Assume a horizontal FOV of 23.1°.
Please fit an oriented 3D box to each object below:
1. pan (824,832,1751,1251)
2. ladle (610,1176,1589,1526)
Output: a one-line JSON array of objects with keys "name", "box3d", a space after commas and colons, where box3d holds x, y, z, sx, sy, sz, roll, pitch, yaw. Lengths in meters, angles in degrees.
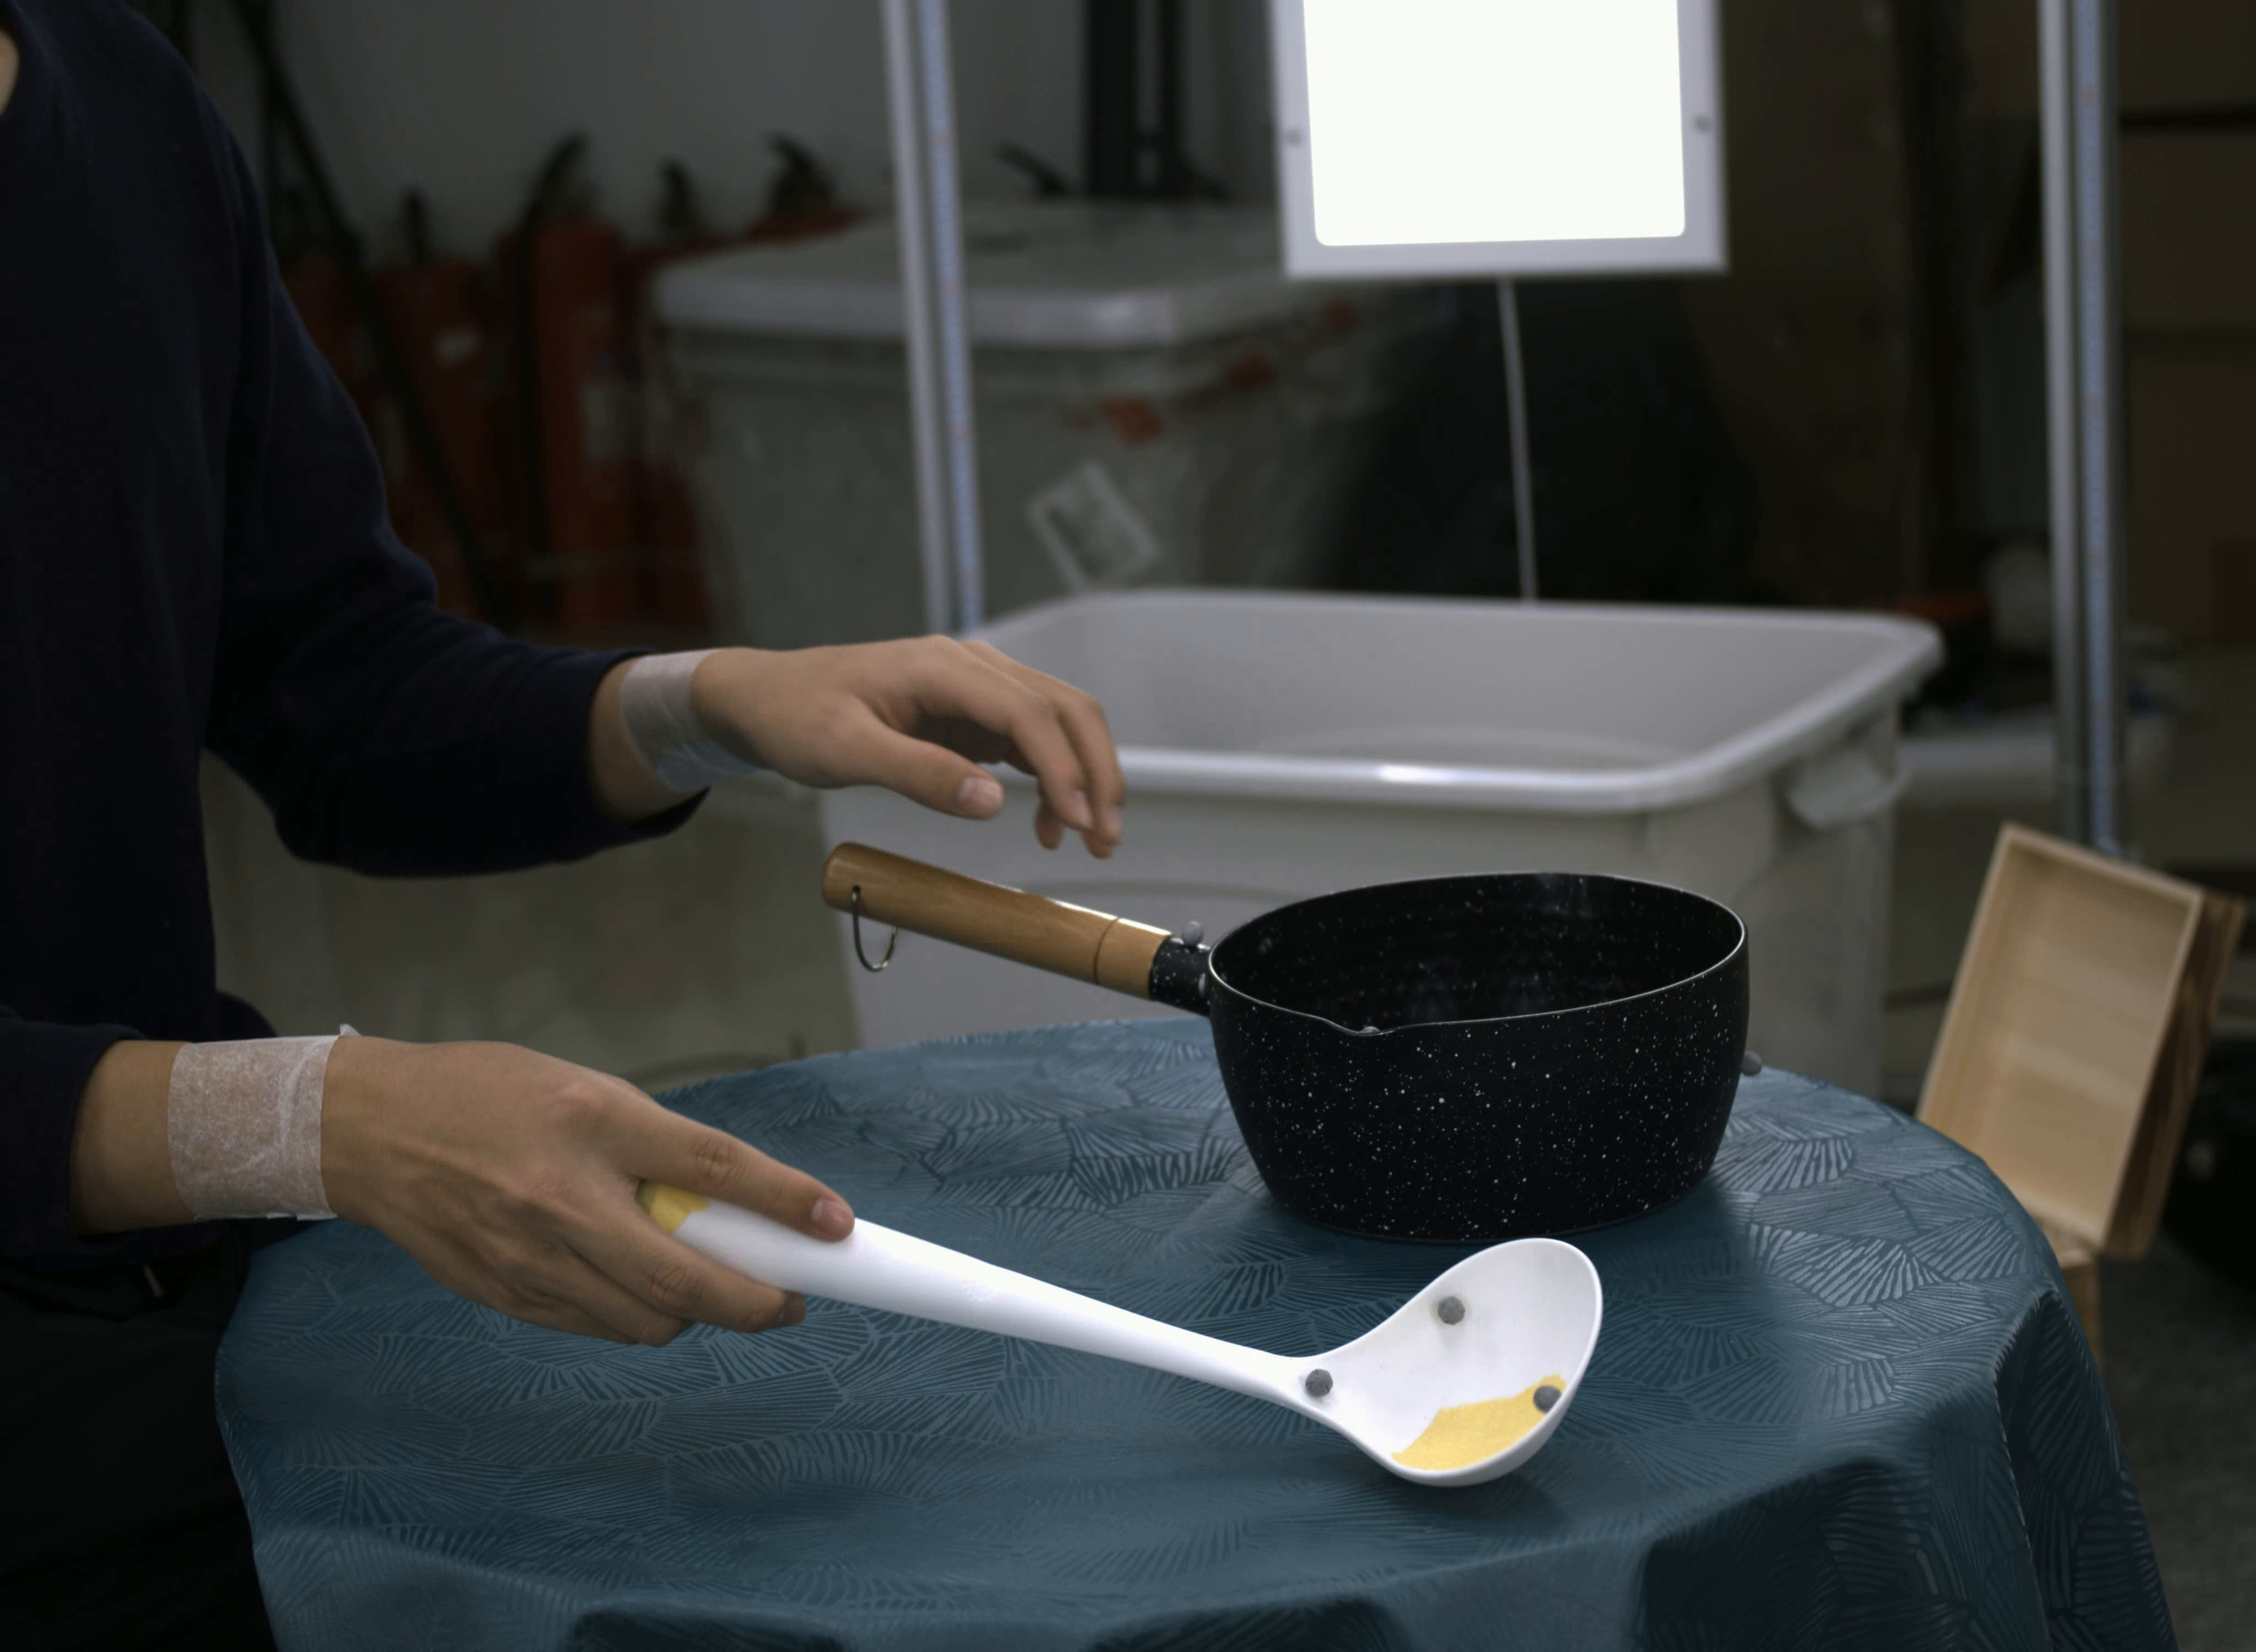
[{"name": "pan", "box3d": [0.048, 0.065, 1.901, 0.348, 0.108, 0.203, 3, 17, 26]}, {"name": "ladle", "box3d": [-0.011, 0.141, 1.612, 0.294, 0.070, 0.089, 13, 58, 10]}]
